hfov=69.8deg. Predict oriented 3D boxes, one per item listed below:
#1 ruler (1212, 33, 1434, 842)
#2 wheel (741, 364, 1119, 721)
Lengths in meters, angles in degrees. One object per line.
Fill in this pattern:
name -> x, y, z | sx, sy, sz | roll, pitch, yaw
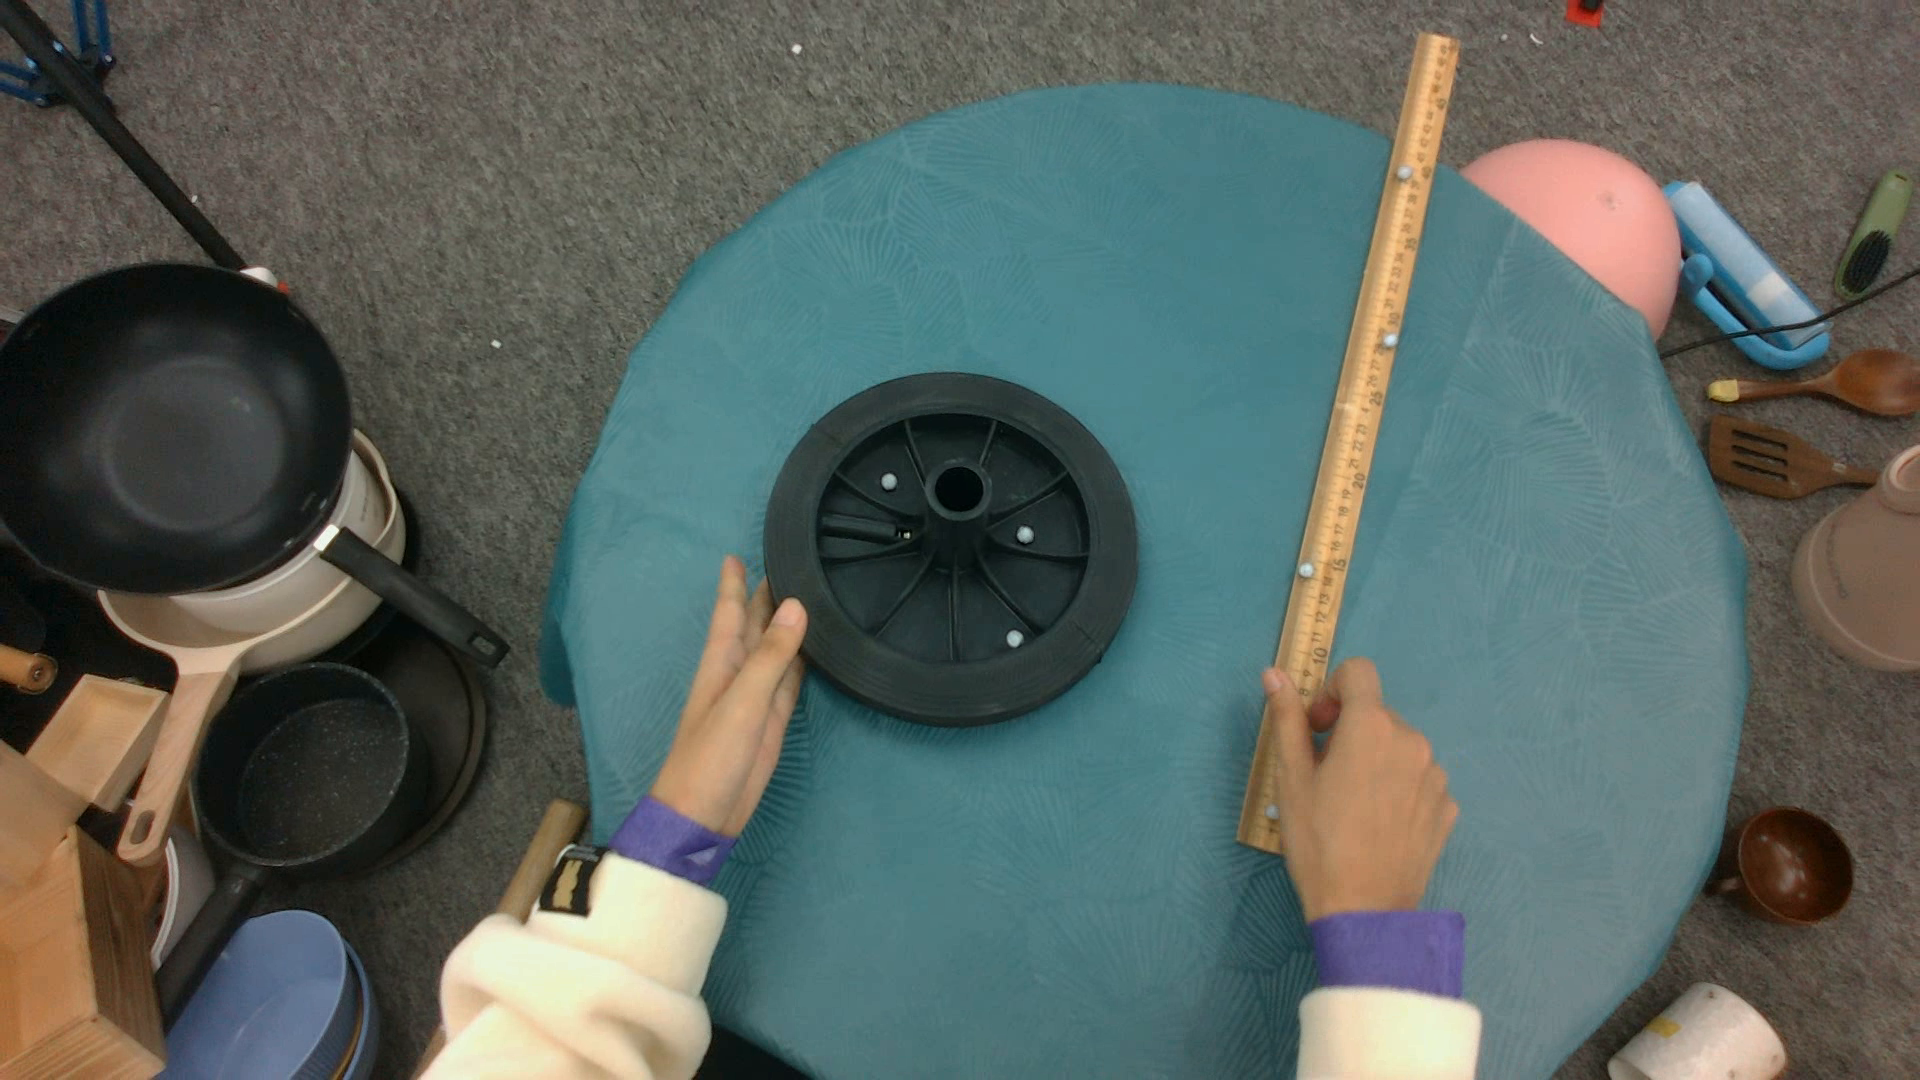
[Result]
ruler -> 0.204, -0.082, 0.743 | 0.027, 0.006, 0.502 | 16, 69, 4
wheel -> -0.012, -0.011, 0.671 | 0.190, 0.079, 0.188 | -13, 68, -10
